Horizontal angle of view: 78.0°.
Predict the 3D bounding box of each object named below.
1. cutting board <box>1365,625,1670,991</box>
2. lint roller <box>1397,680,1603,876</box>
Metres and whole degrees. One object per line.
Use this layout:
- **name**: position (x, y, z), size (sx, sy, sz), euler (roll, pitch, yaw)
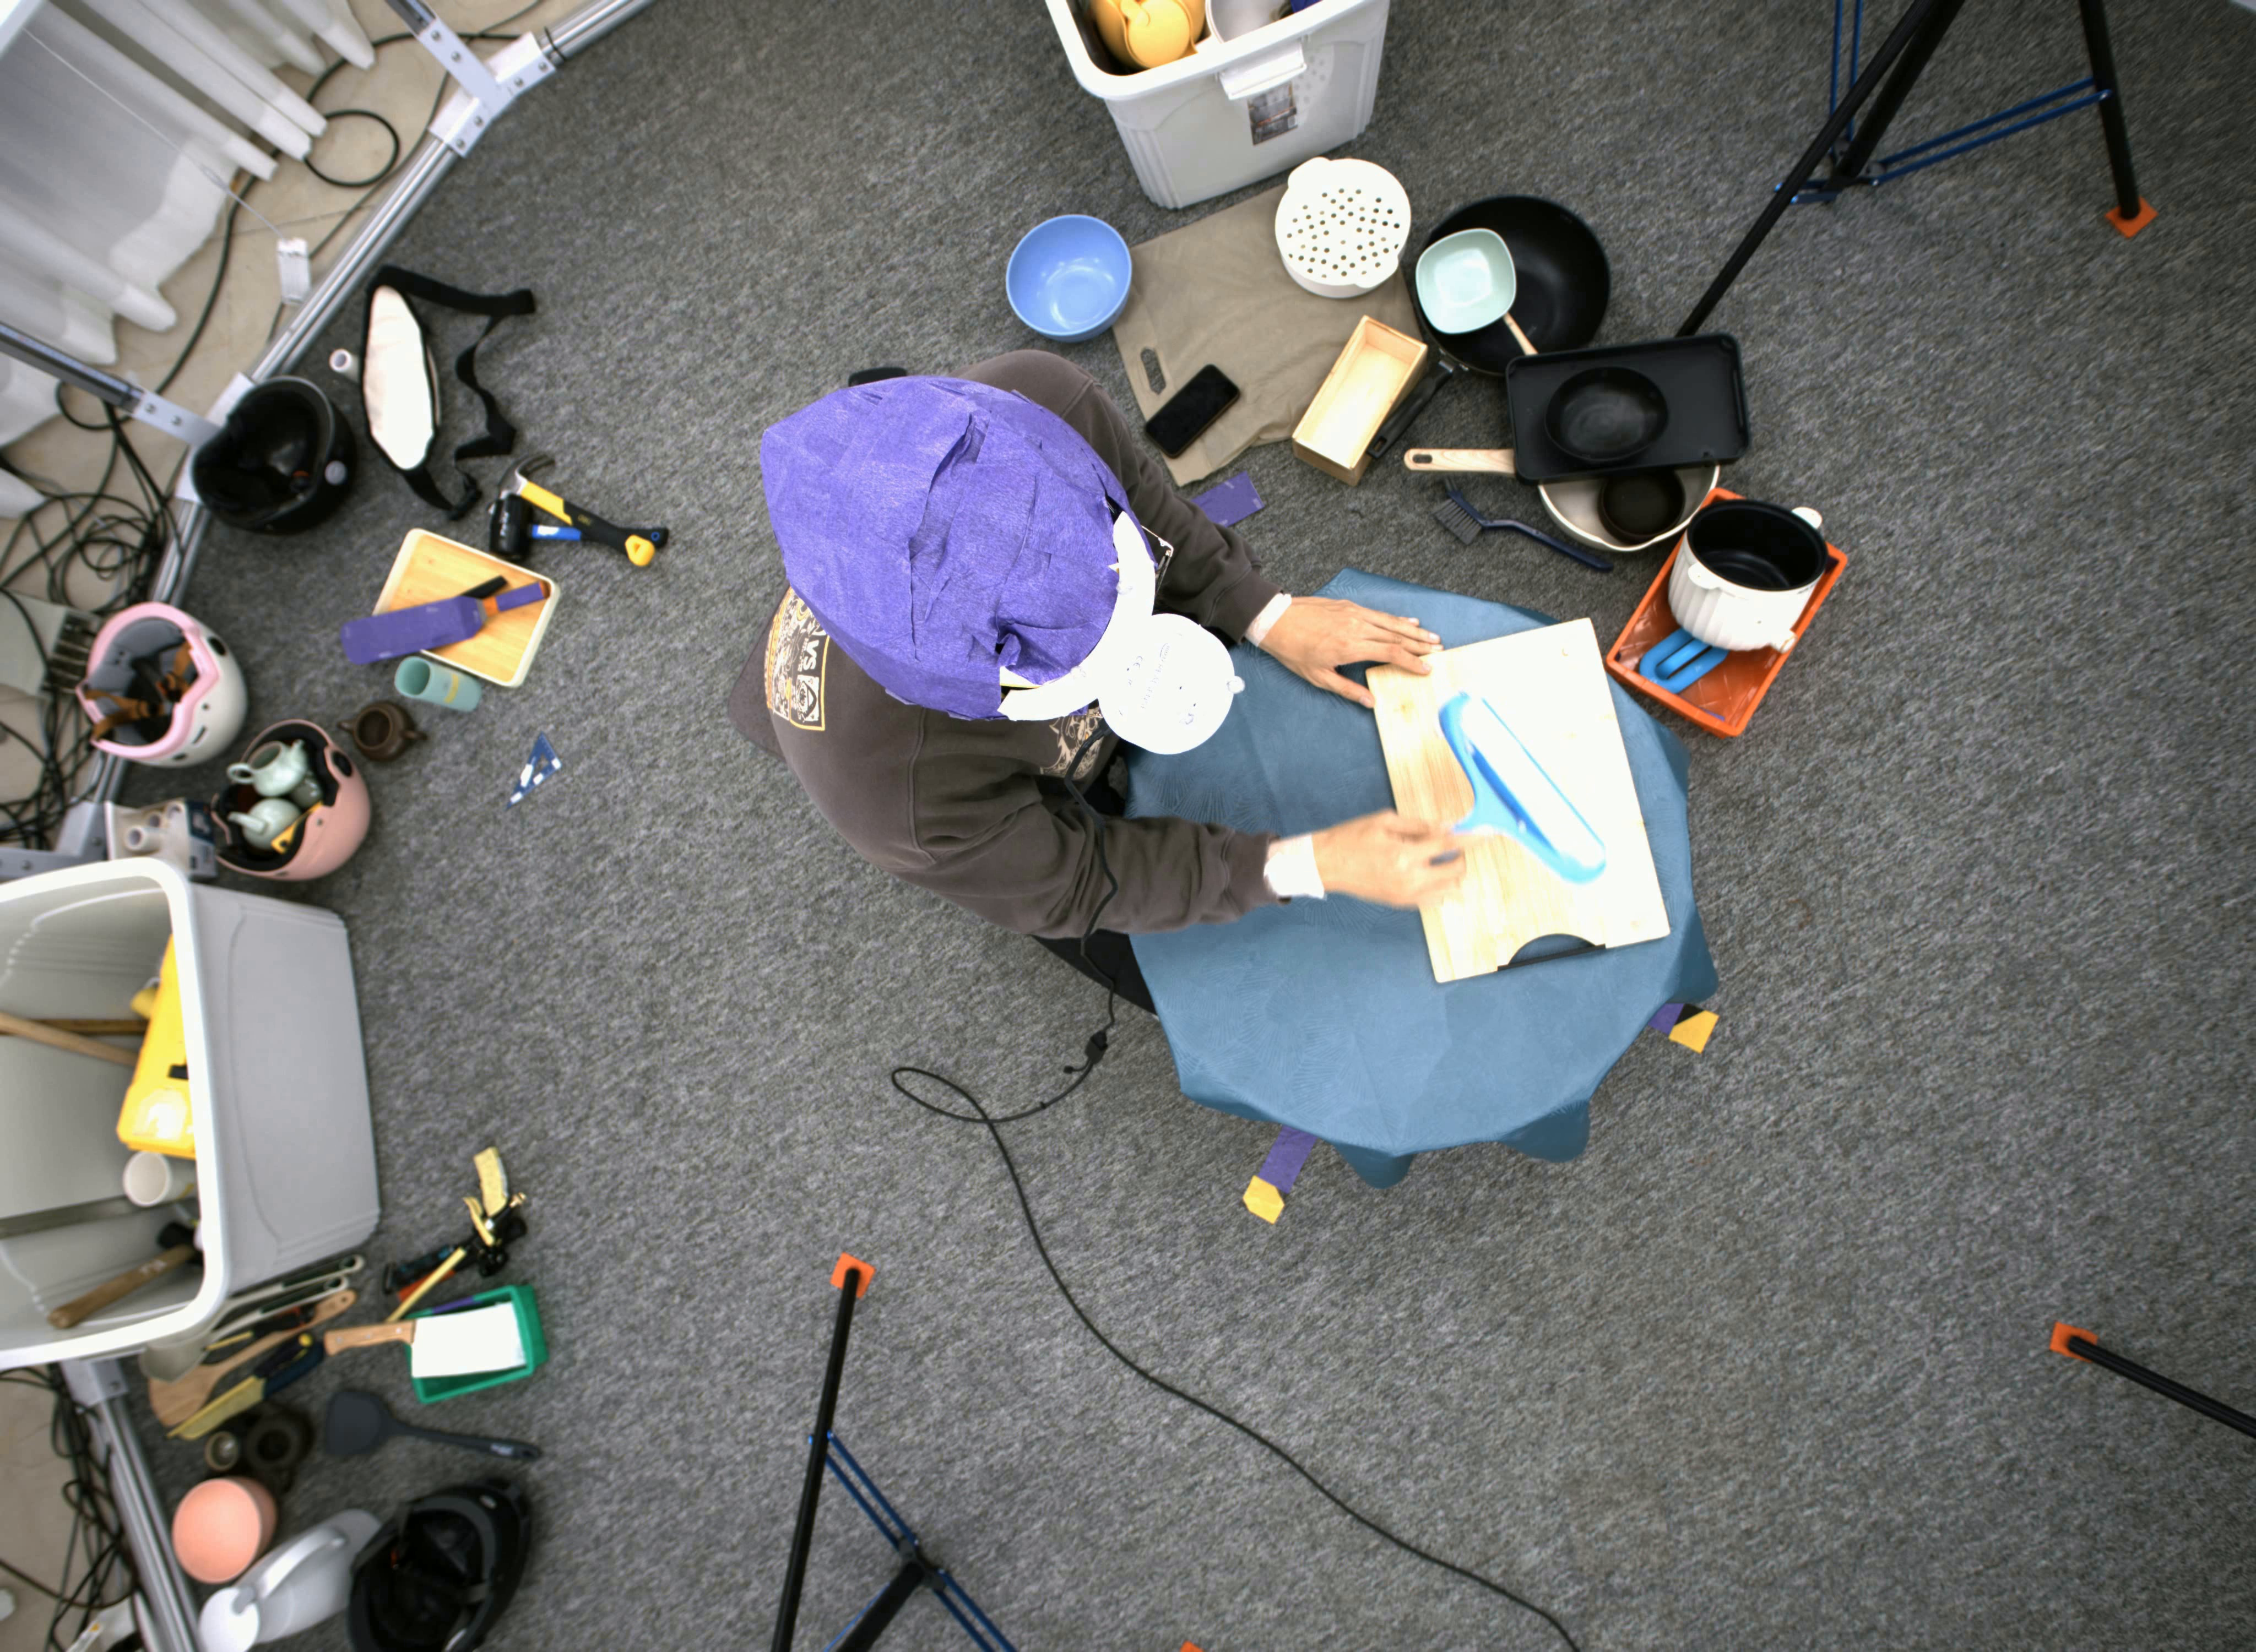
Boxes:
- **cutting board**: position (0.402, -0.024, 1.429), size (0.252, 0.023, 0.346), euler (-14, 85, 10)
- **lint roller**: position (0.334, -0.017, 1.313), size (0.178, 0.069, 0.228), euler (-40, 87, -17)
